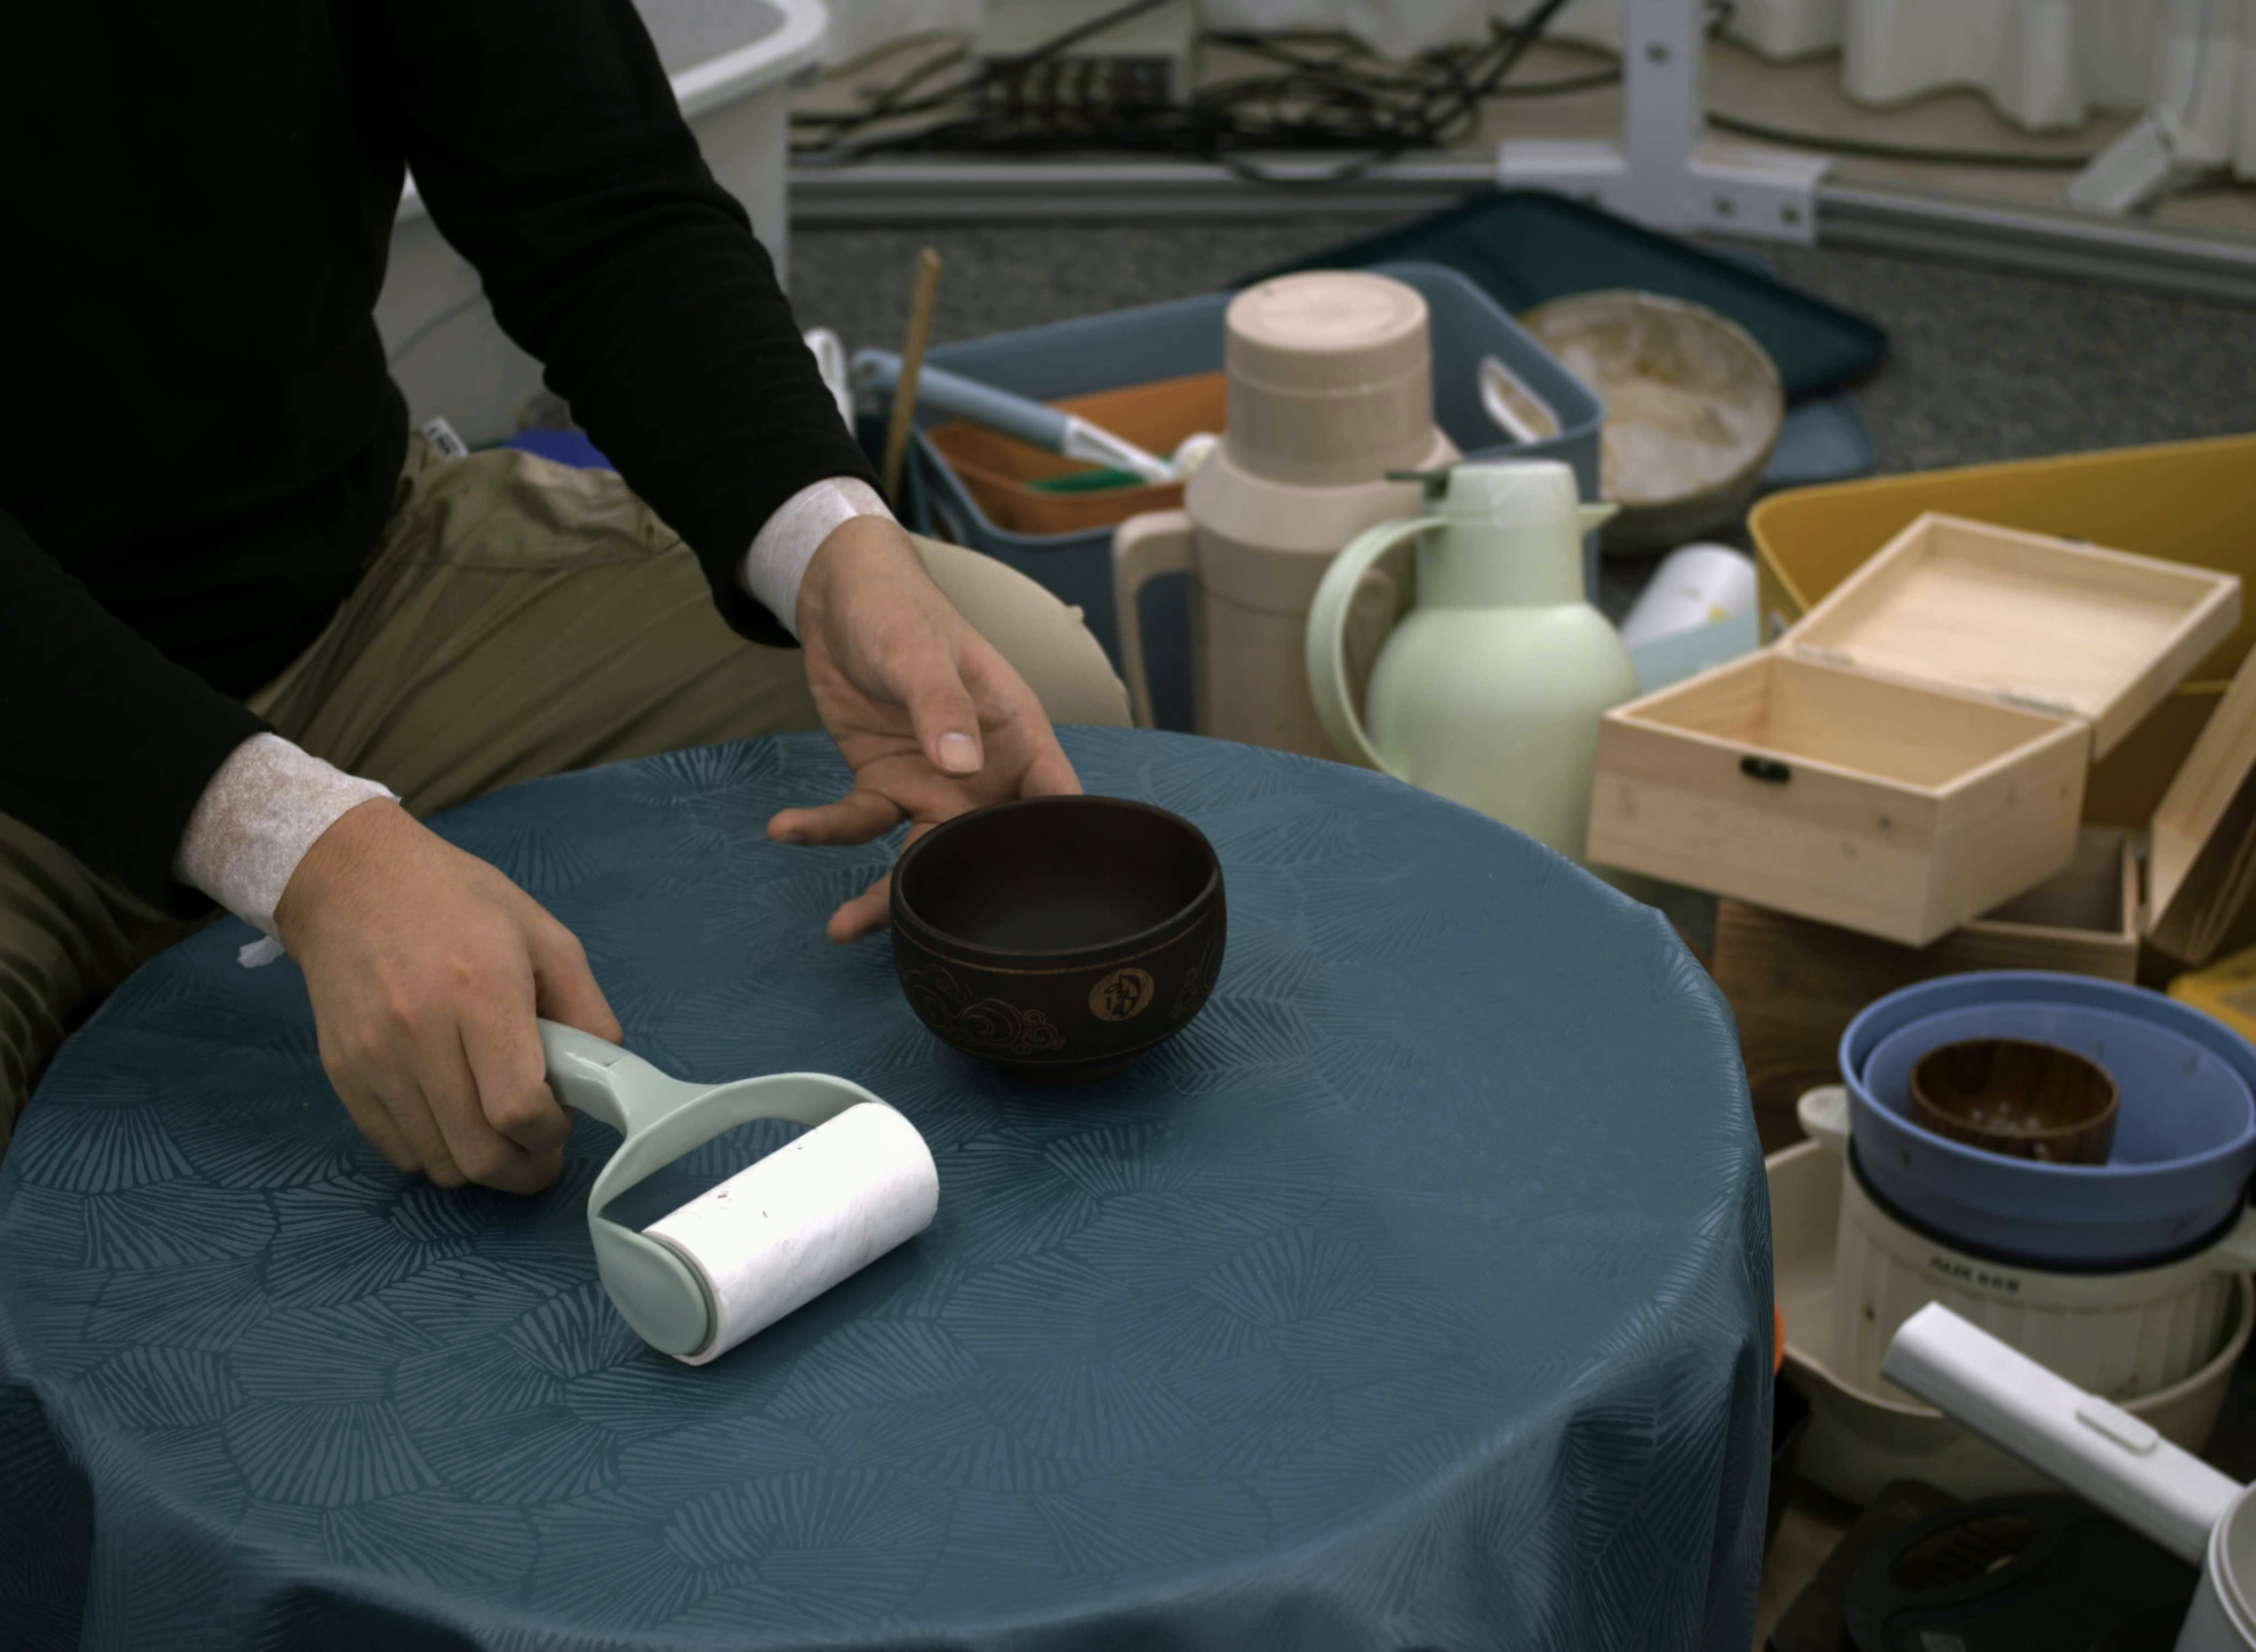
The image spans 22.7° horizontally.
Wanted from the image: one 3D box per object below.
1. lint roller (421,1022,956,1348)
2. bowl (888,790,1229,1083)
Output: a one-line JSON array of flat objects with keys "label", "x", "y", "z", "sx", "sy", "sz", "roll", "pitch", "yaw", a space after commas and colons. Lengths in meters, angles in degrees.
[{"label": "lint roller", "x": -0.160, "y": 0.098, "z": 1.848, "sx": 0.197, "sy": 0.048, "sz": 0.118, "roll": 28, "pitch": 40, "yaw": 33}, {"label": "bowl", "x": -0.022, "y": 0.045, "z": 1.935, "sx": 0.117, "sy": 0.069, "sz": 0.120, "roll": -4, "pitch": 27, "yaw": 2}]
